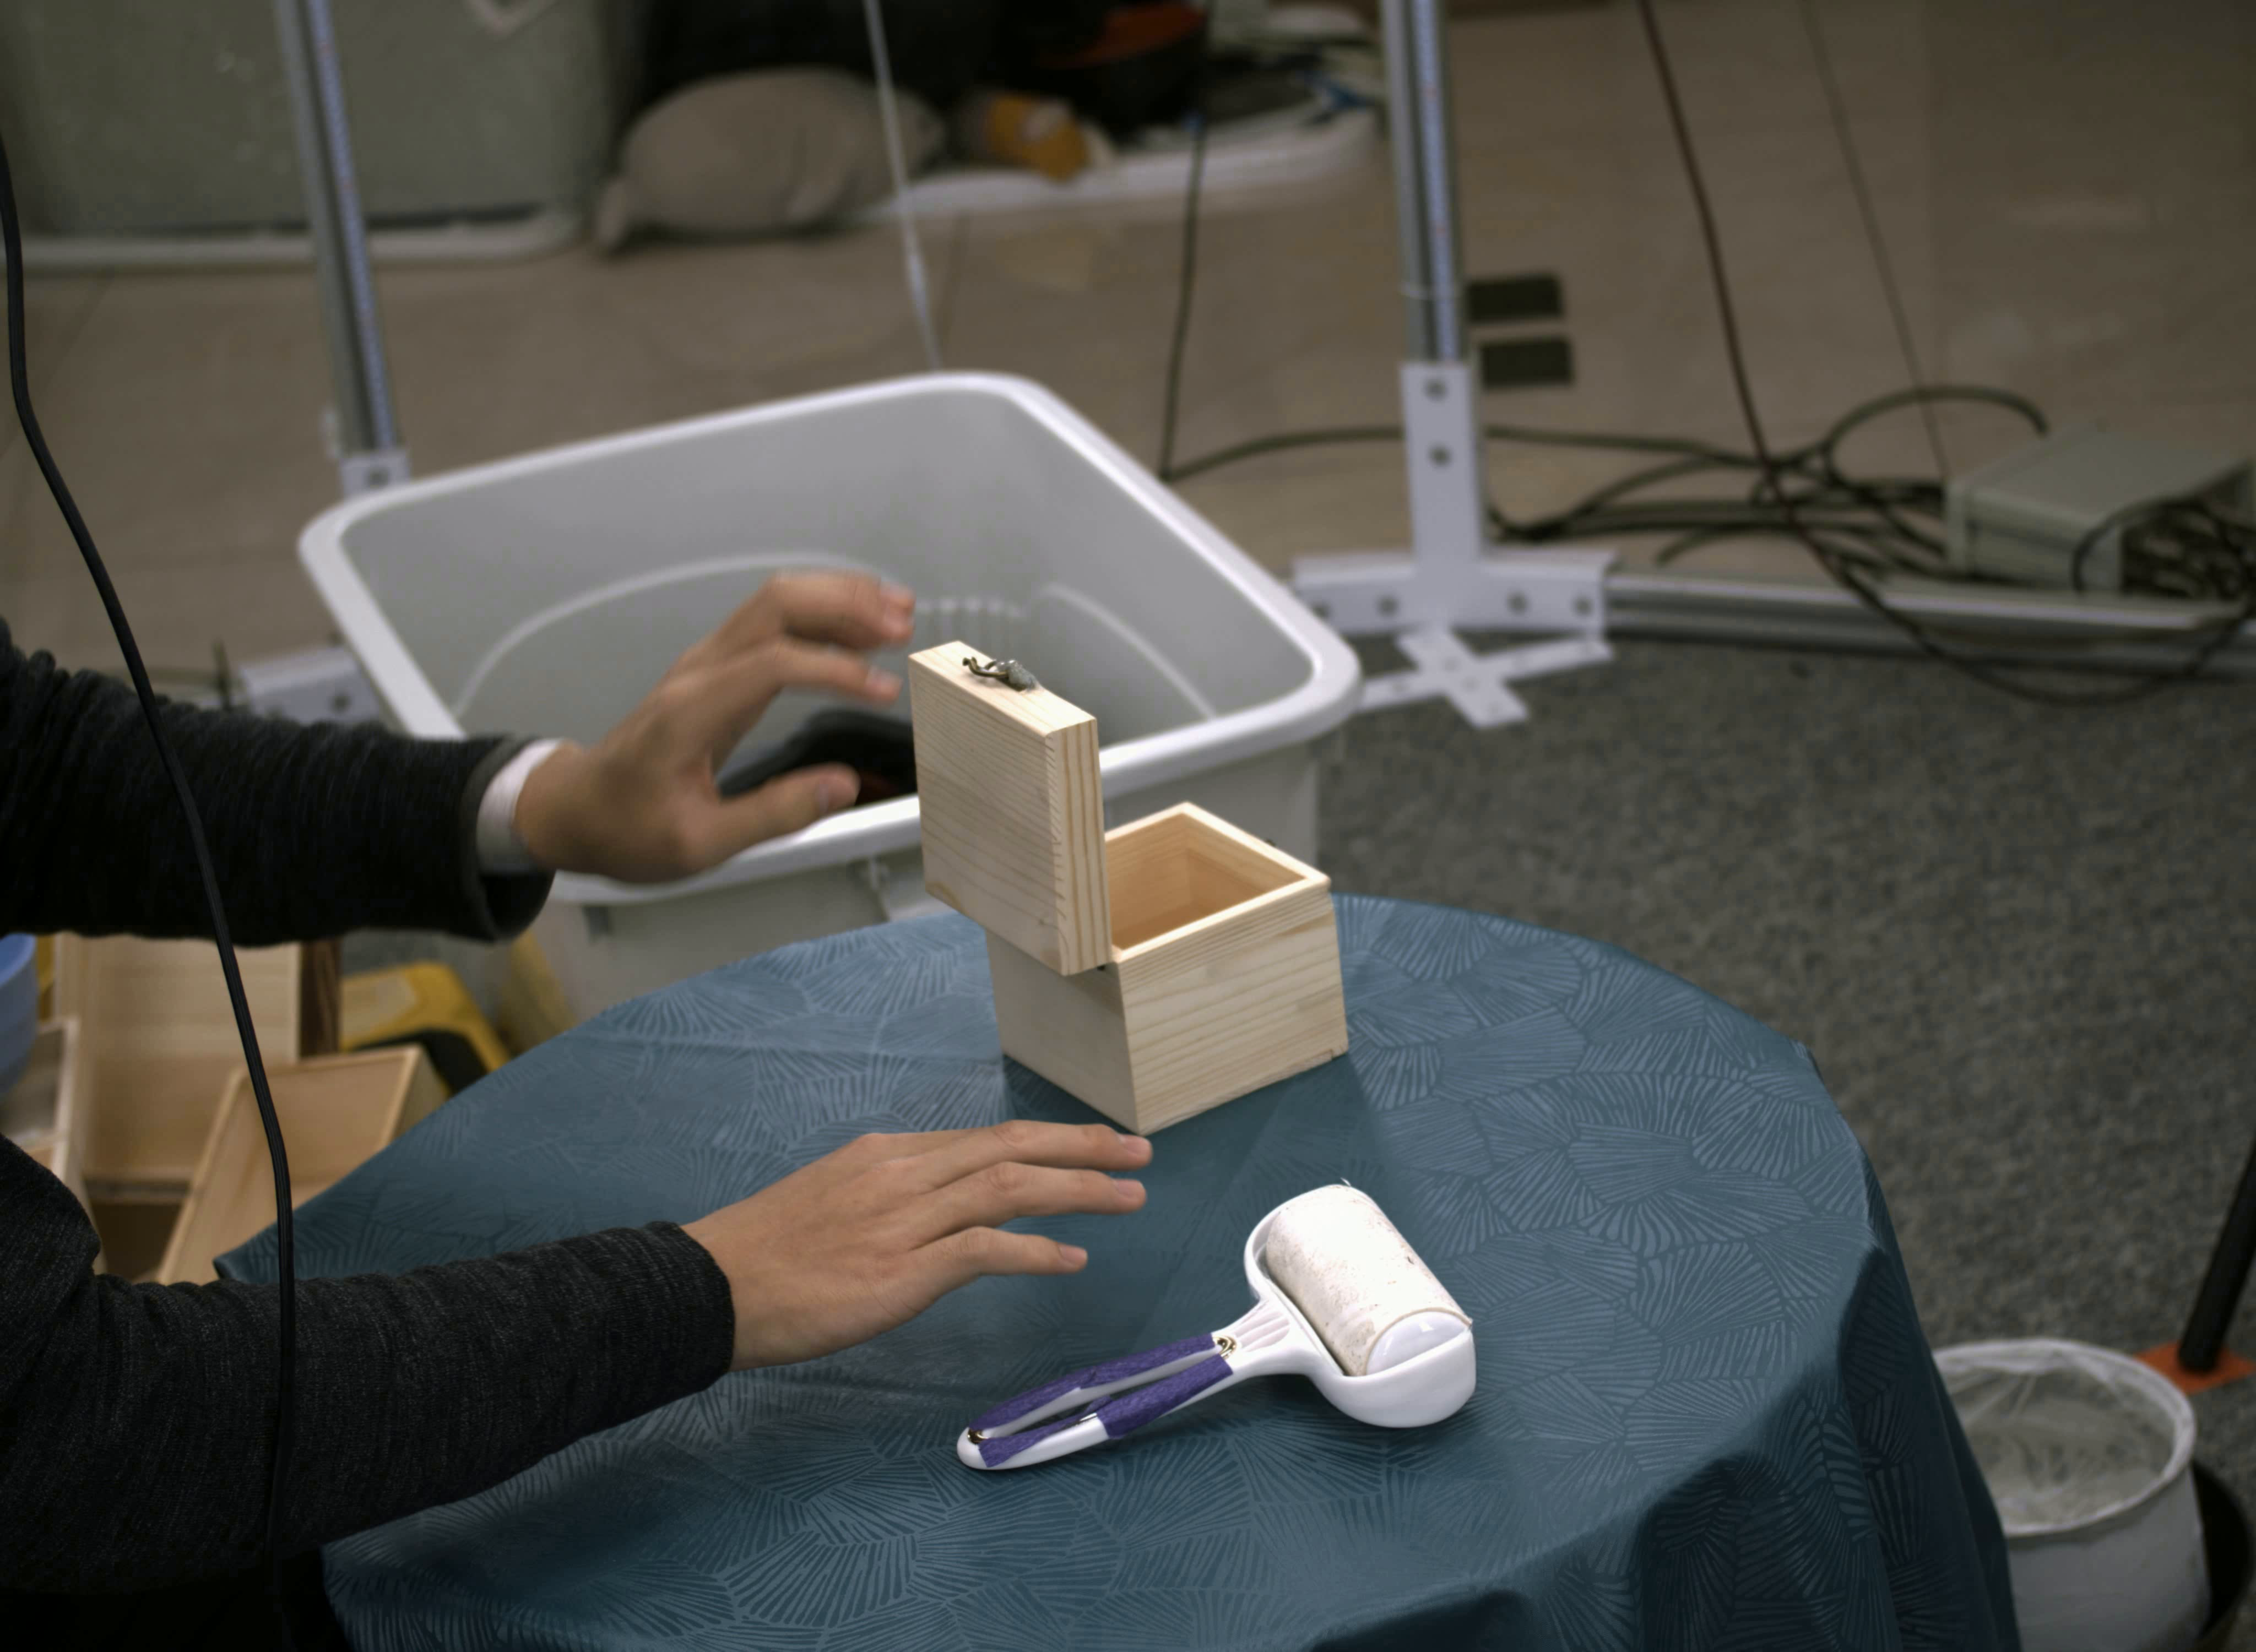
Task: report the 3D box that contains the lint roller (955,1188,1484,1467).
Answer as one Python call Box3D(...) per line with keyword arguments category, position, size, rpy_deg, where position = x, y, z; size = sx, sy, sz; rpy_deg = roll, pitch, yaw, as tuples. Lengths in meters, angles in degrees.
Box3D(category="lint roller", position=(0.024, 0.182, 1.993), size=(0.180, 0.051, 0.131), rpy_deg=(-10, 27, -13))

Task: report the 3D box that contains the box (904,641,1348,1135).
Box3D(category="box", position=(0.001, 0.011, 2.203), size=(0.133, 0.187, 0.101), rpy_deg=(-21, 29, -27))
